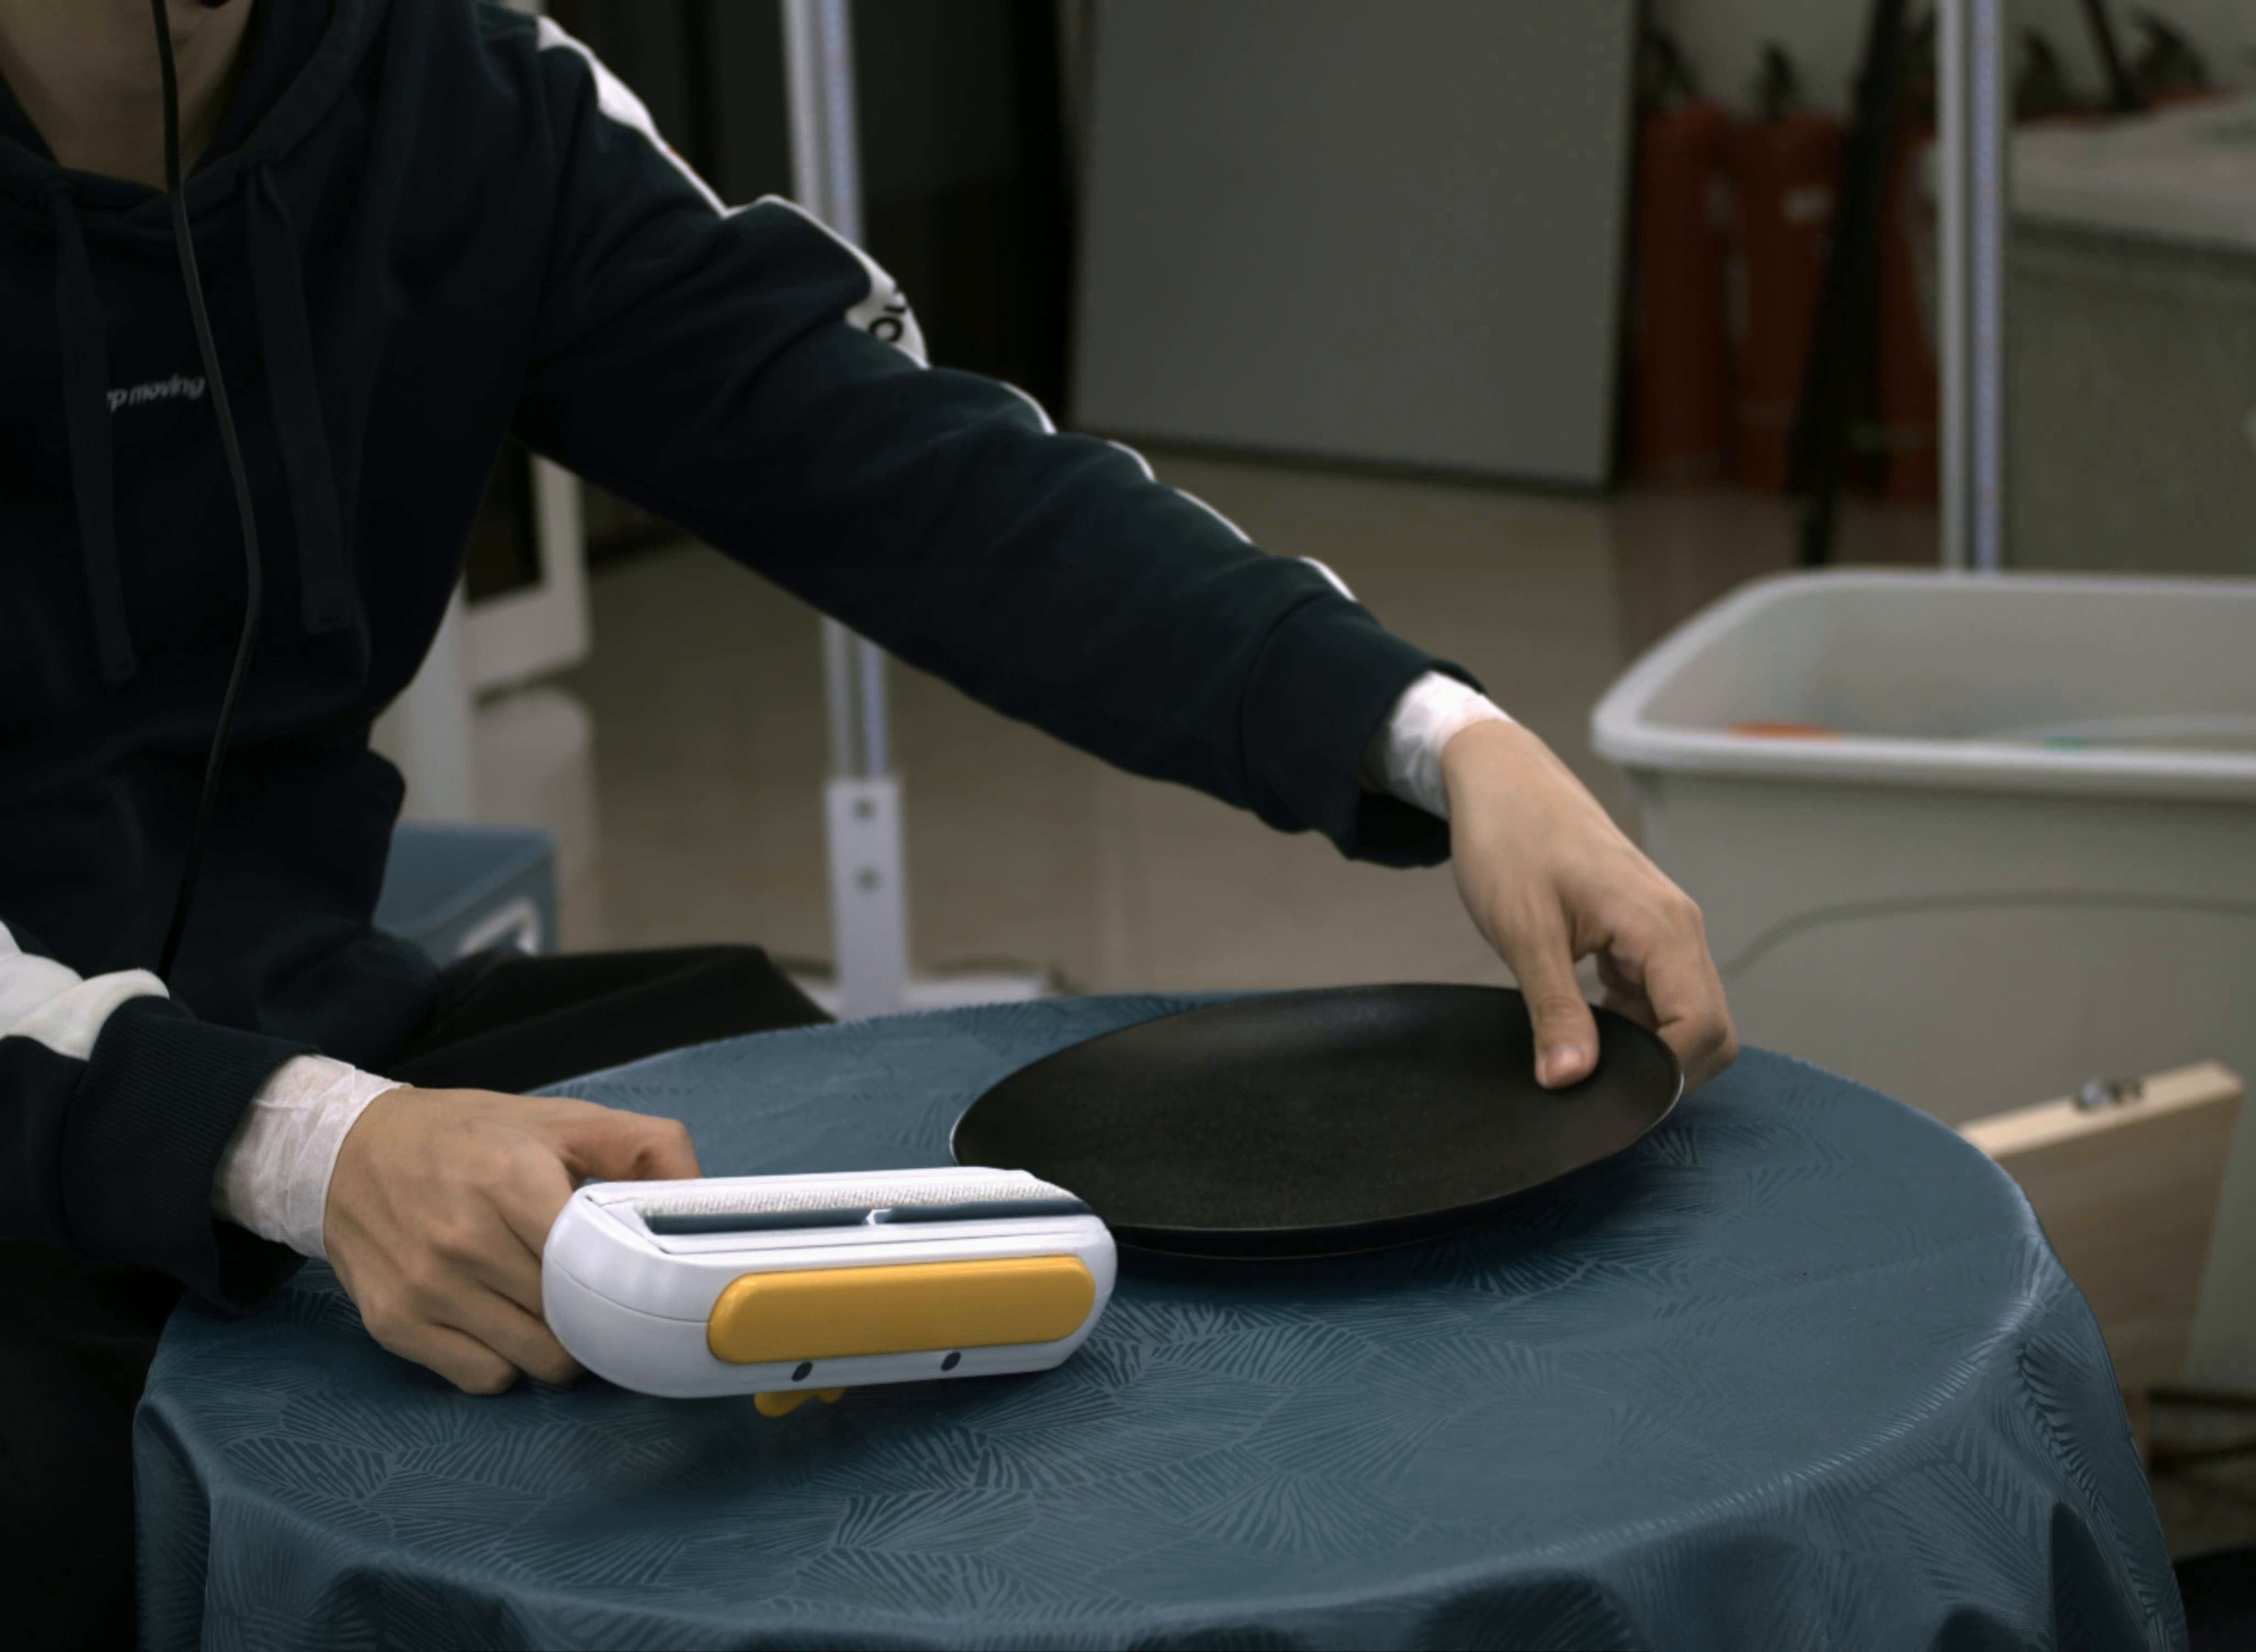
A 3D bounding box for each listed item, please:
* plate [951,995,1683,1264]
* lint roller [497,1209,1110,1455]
[{"bbox_3d":[0.063,0.102,1.767,0.241,0.023,0.245,-7,15,1],"label":"plate"},{"bbox_3d":[-0.124,0.147,1.618,0.188,0.075,0.194,-1,-2,-35],"label":"lint roller"}]
